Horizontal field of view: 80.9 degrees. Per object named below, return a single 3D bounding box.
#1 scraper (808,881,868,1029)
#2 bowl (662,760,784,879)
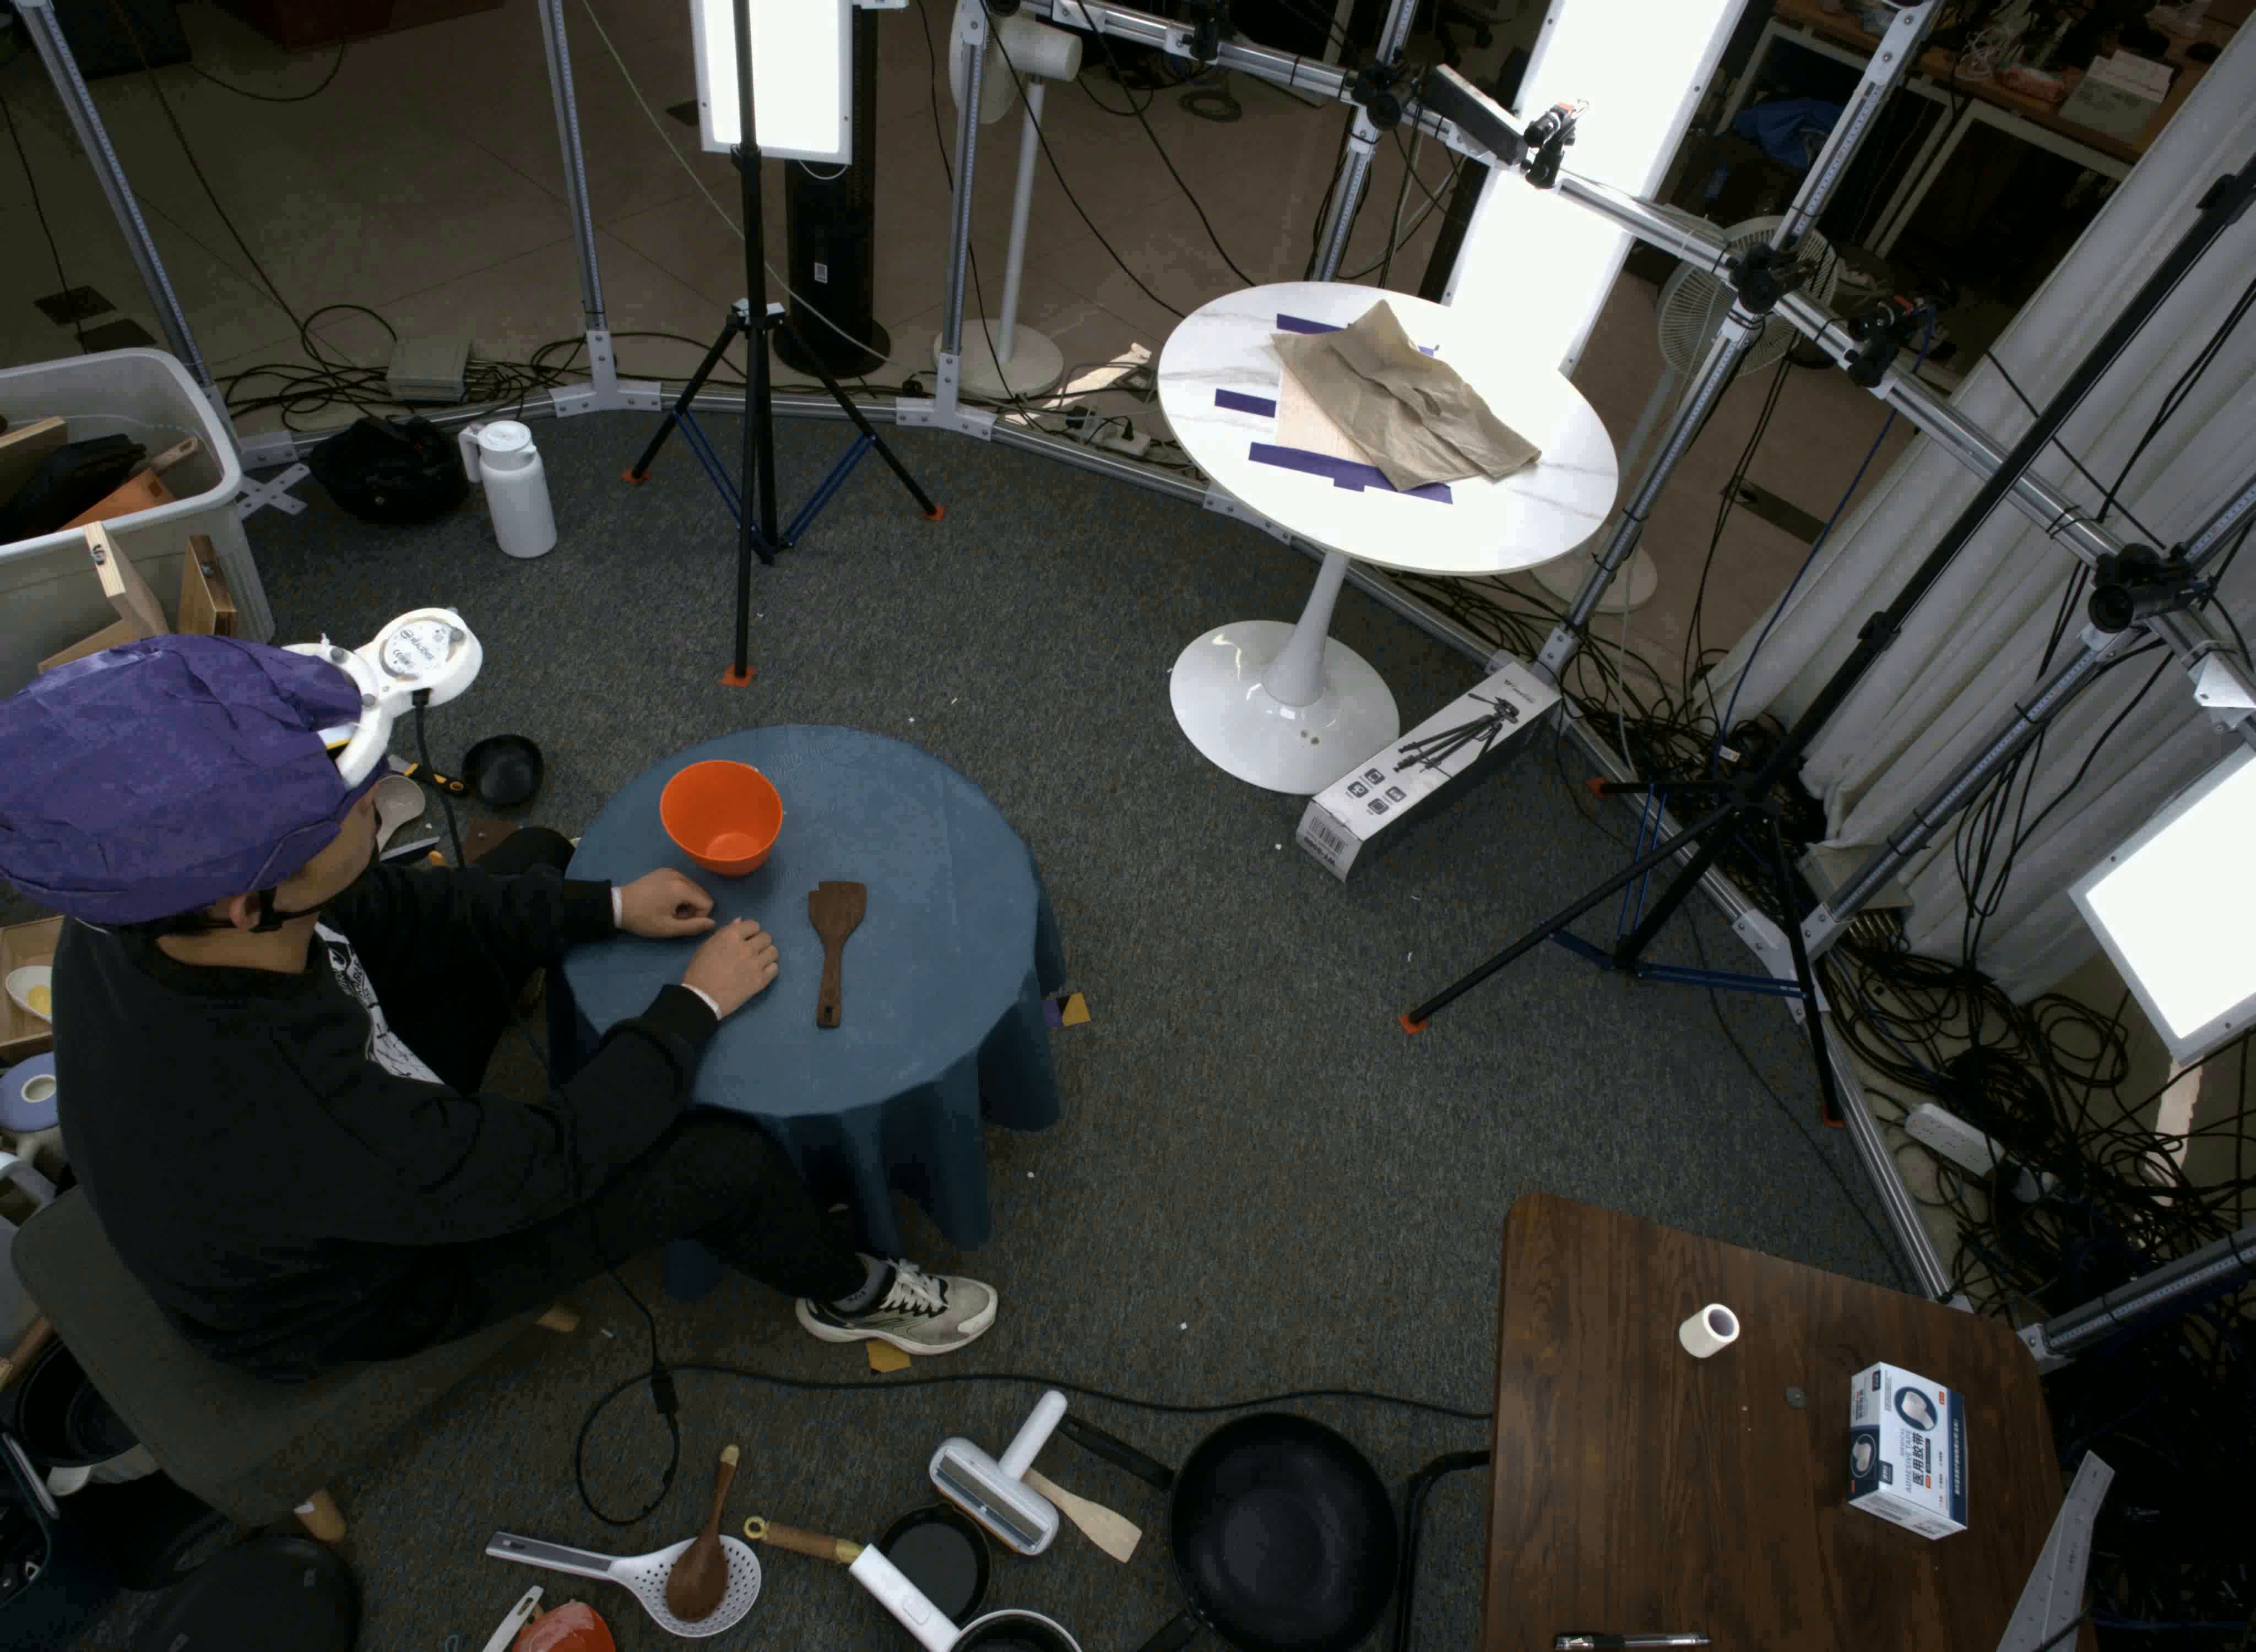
[{"bbox_3d":[-0.367,0.157,1.622,0.076,0.011,0.207,3,54,-11],"label":"scraper"},{"bbox_3d":[-0.510,0.003,1.640,0.147,0.107,0.145,7,52,-8],"label":"bowl"}]
